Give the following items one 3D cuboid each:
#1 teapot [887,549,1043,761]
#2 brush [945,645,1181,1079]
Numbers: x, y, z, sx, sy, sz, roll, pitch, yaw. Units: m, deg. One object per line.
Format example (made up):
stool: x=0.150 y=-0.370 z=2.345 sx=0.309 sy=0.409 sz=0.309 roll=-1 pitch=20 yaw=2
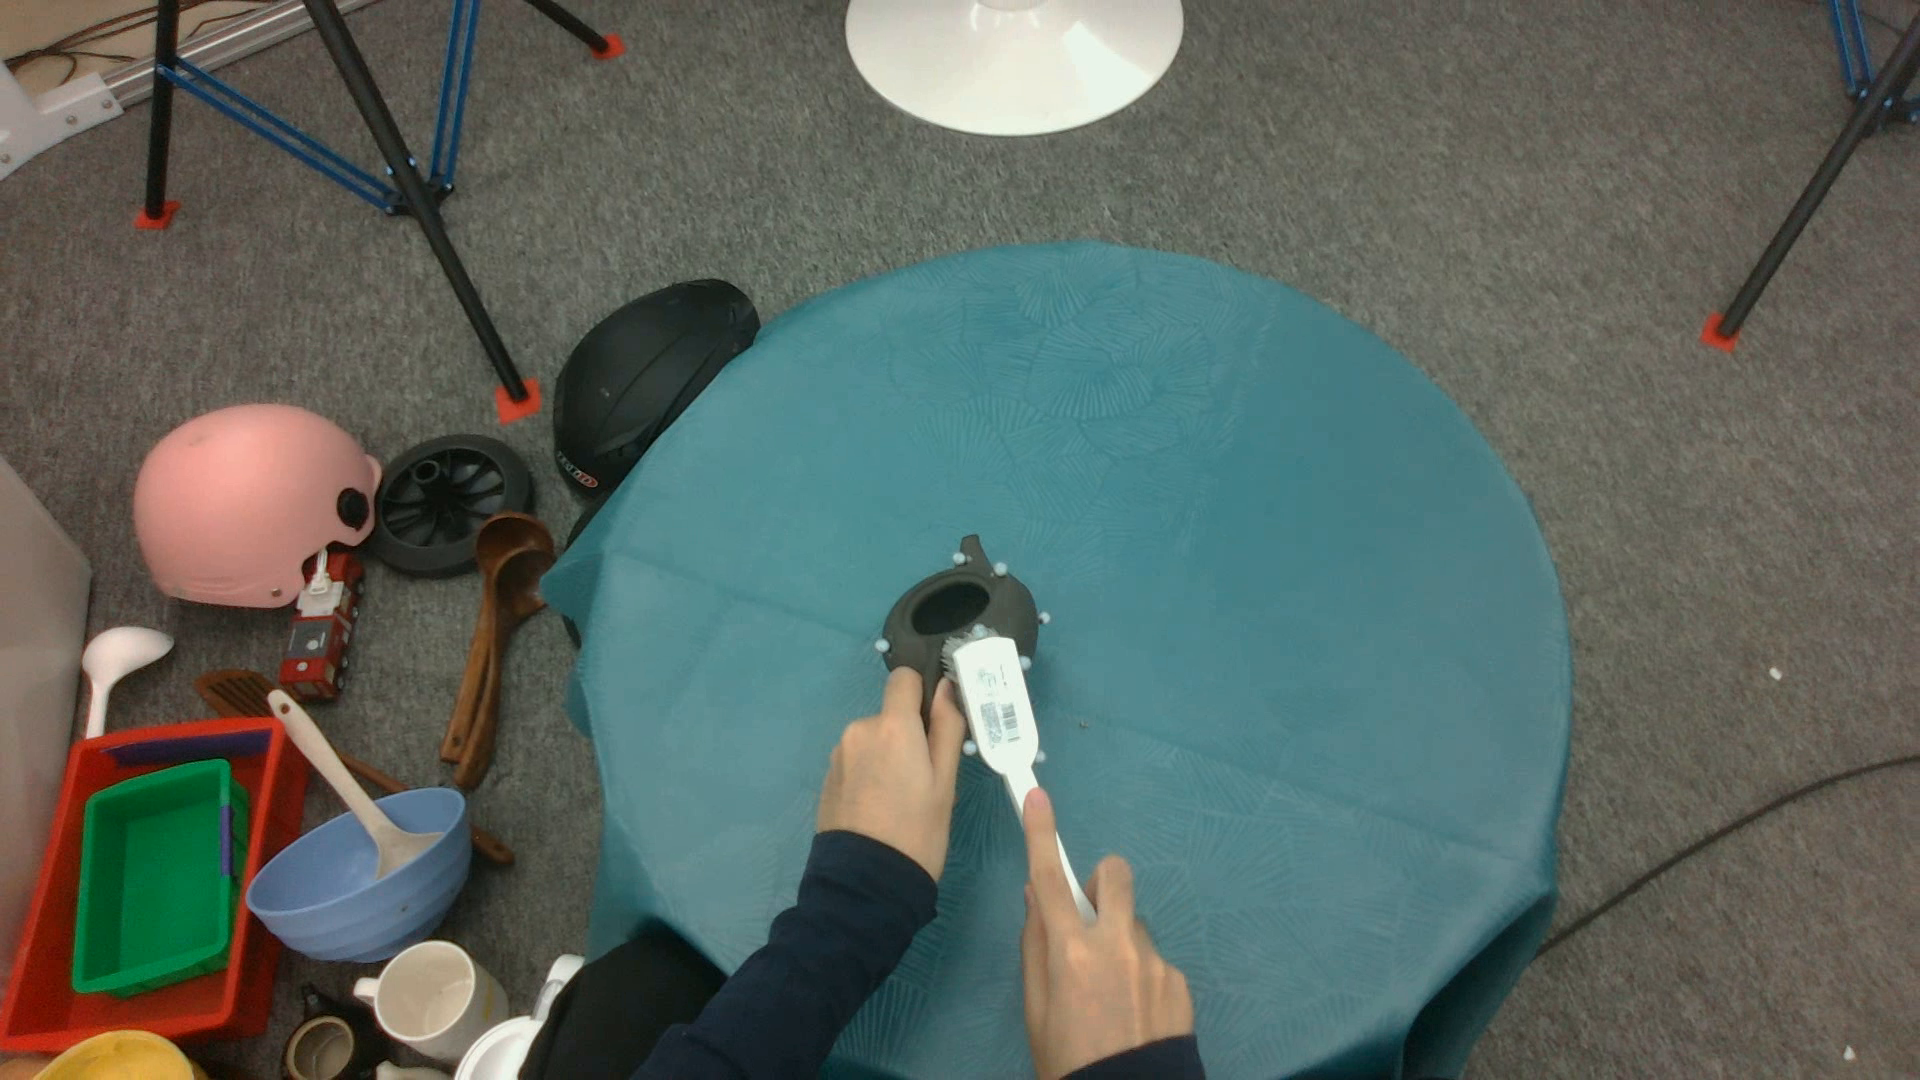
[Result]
teapot: x=0.003 y=0.067 z=0.806 sx=0.092 sy=0.064 sz=0.155 roll=-7 pitch=37 yaw=20
brush: x=0.050 y=0.165 z=0.716 sx=0.034 sy=0.050 sz=0.244 roll=-16 pitch=72 yaw=-22
